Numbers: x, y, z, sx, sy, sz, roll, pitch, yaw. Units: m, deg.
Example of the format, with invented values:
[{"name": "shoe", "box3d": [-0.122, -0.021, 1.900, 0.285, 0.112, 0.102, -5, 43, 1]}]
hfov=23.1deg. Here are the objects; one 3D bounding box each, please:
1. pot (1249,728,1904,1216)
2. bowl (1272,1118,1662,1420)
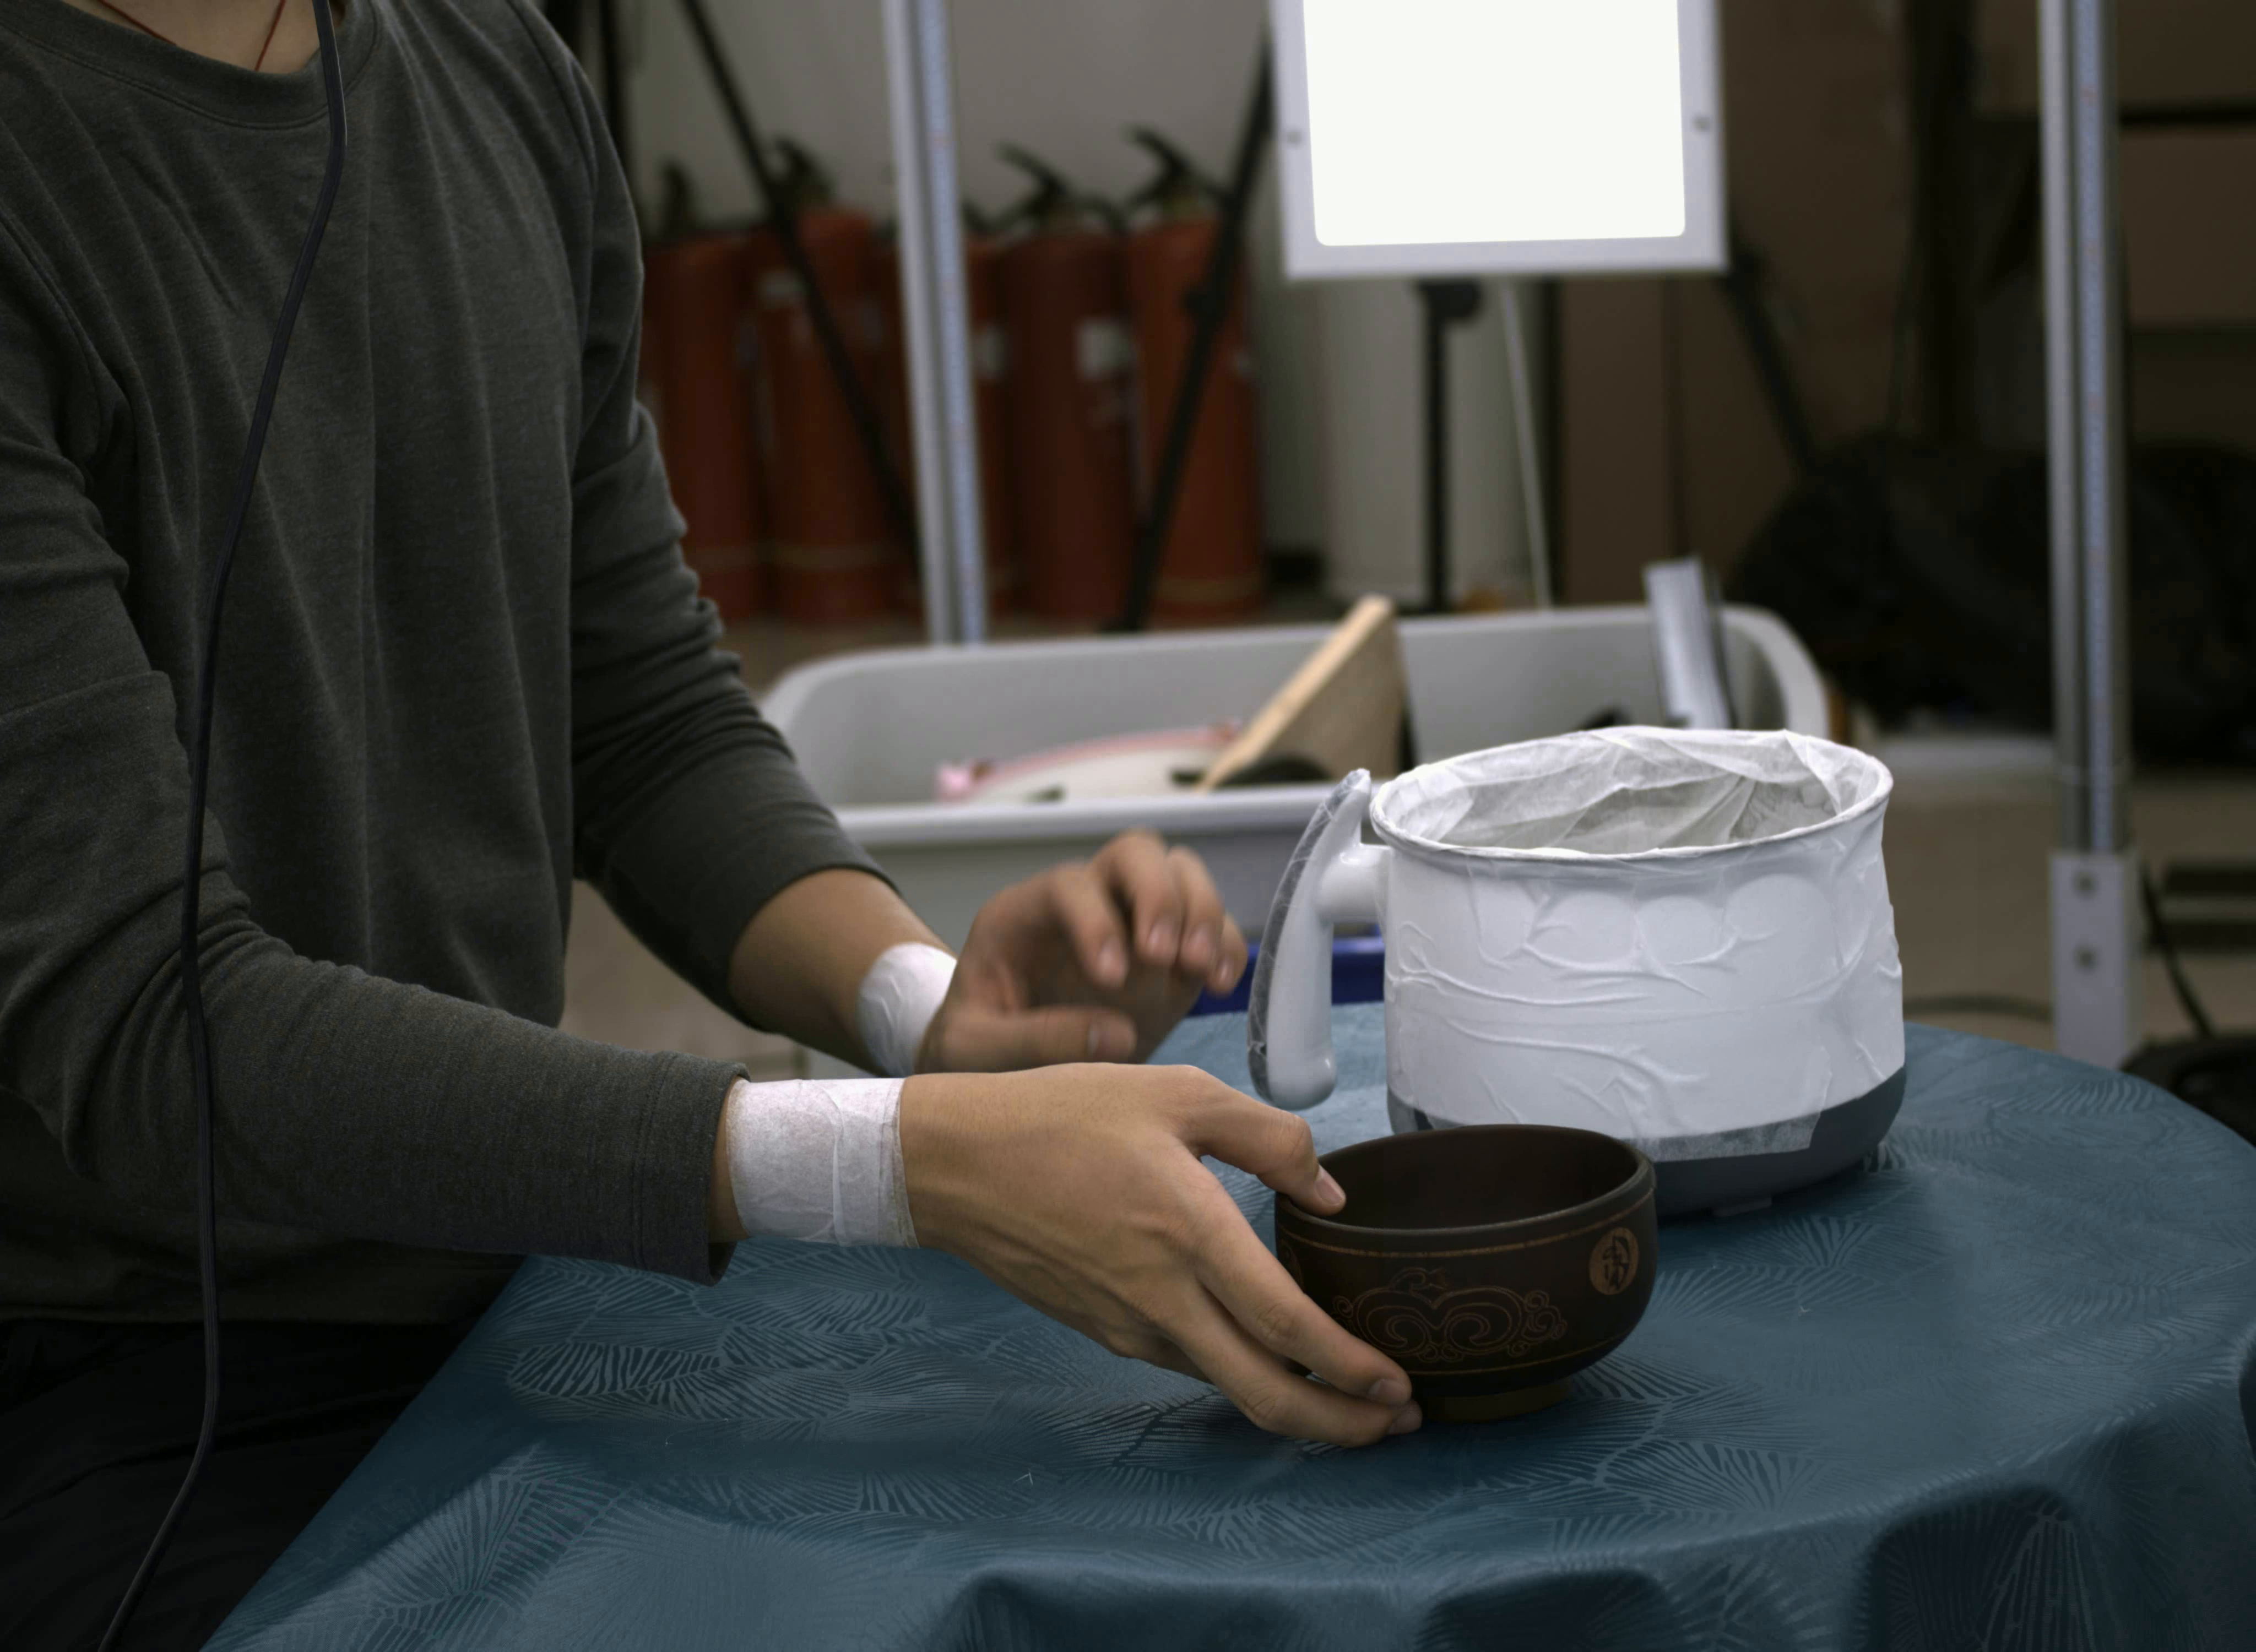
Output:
[{"name": "pot", "box3d": [0.150, 0.048, 1.879, 0.237, 0.137, 0.175, 1, 14, 24]}, {"name": "bowl", "box3d": [0.105, 0.137, 1.663, 0.118, 0.070, 0.118, -9, 12, 0]}]
